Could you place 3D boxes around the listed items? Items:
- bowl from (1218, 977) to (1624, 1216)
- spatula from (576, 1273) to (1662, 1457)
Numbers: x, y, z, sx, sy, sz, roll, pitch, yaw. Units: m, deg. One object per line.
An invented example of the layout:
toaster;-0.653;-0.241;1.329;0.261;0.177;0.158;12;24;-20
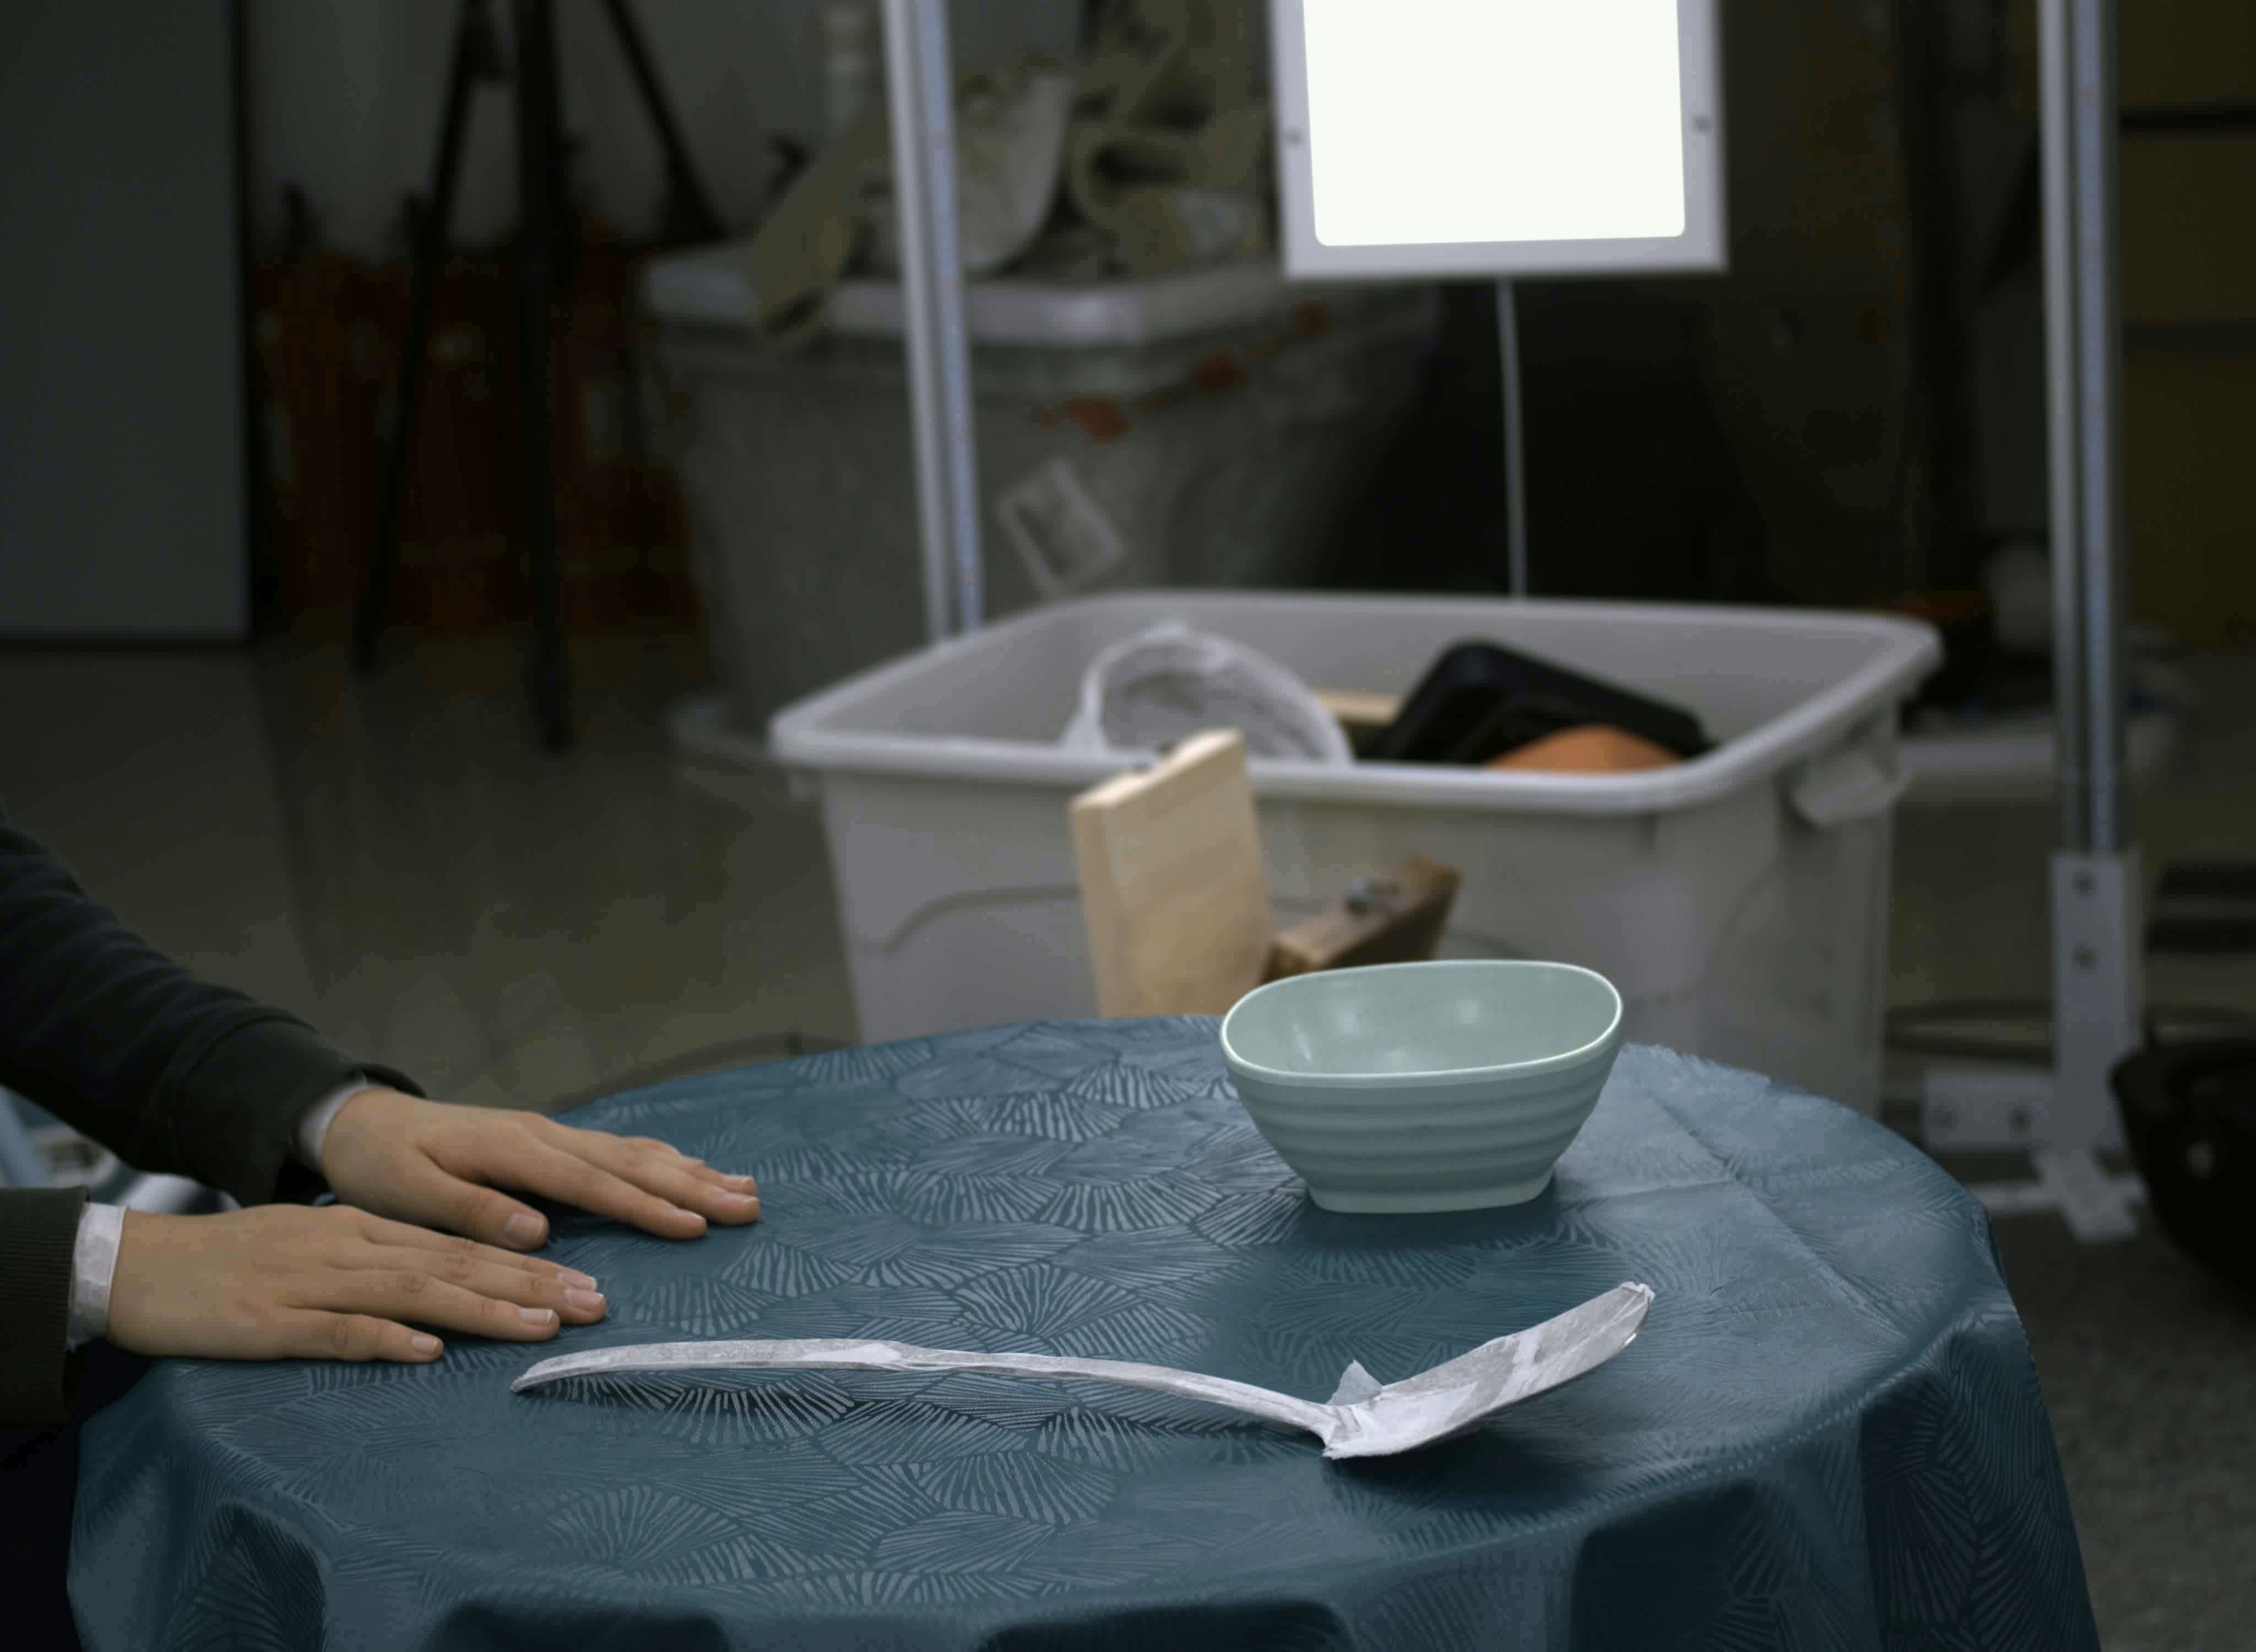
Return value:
bowl;0.102;0.094;1.878;0.151;0.059;0.151;-4;11;-1
spatula;-0.015;0.161;1.681;0.370;0.045;0.097;2;17;24
